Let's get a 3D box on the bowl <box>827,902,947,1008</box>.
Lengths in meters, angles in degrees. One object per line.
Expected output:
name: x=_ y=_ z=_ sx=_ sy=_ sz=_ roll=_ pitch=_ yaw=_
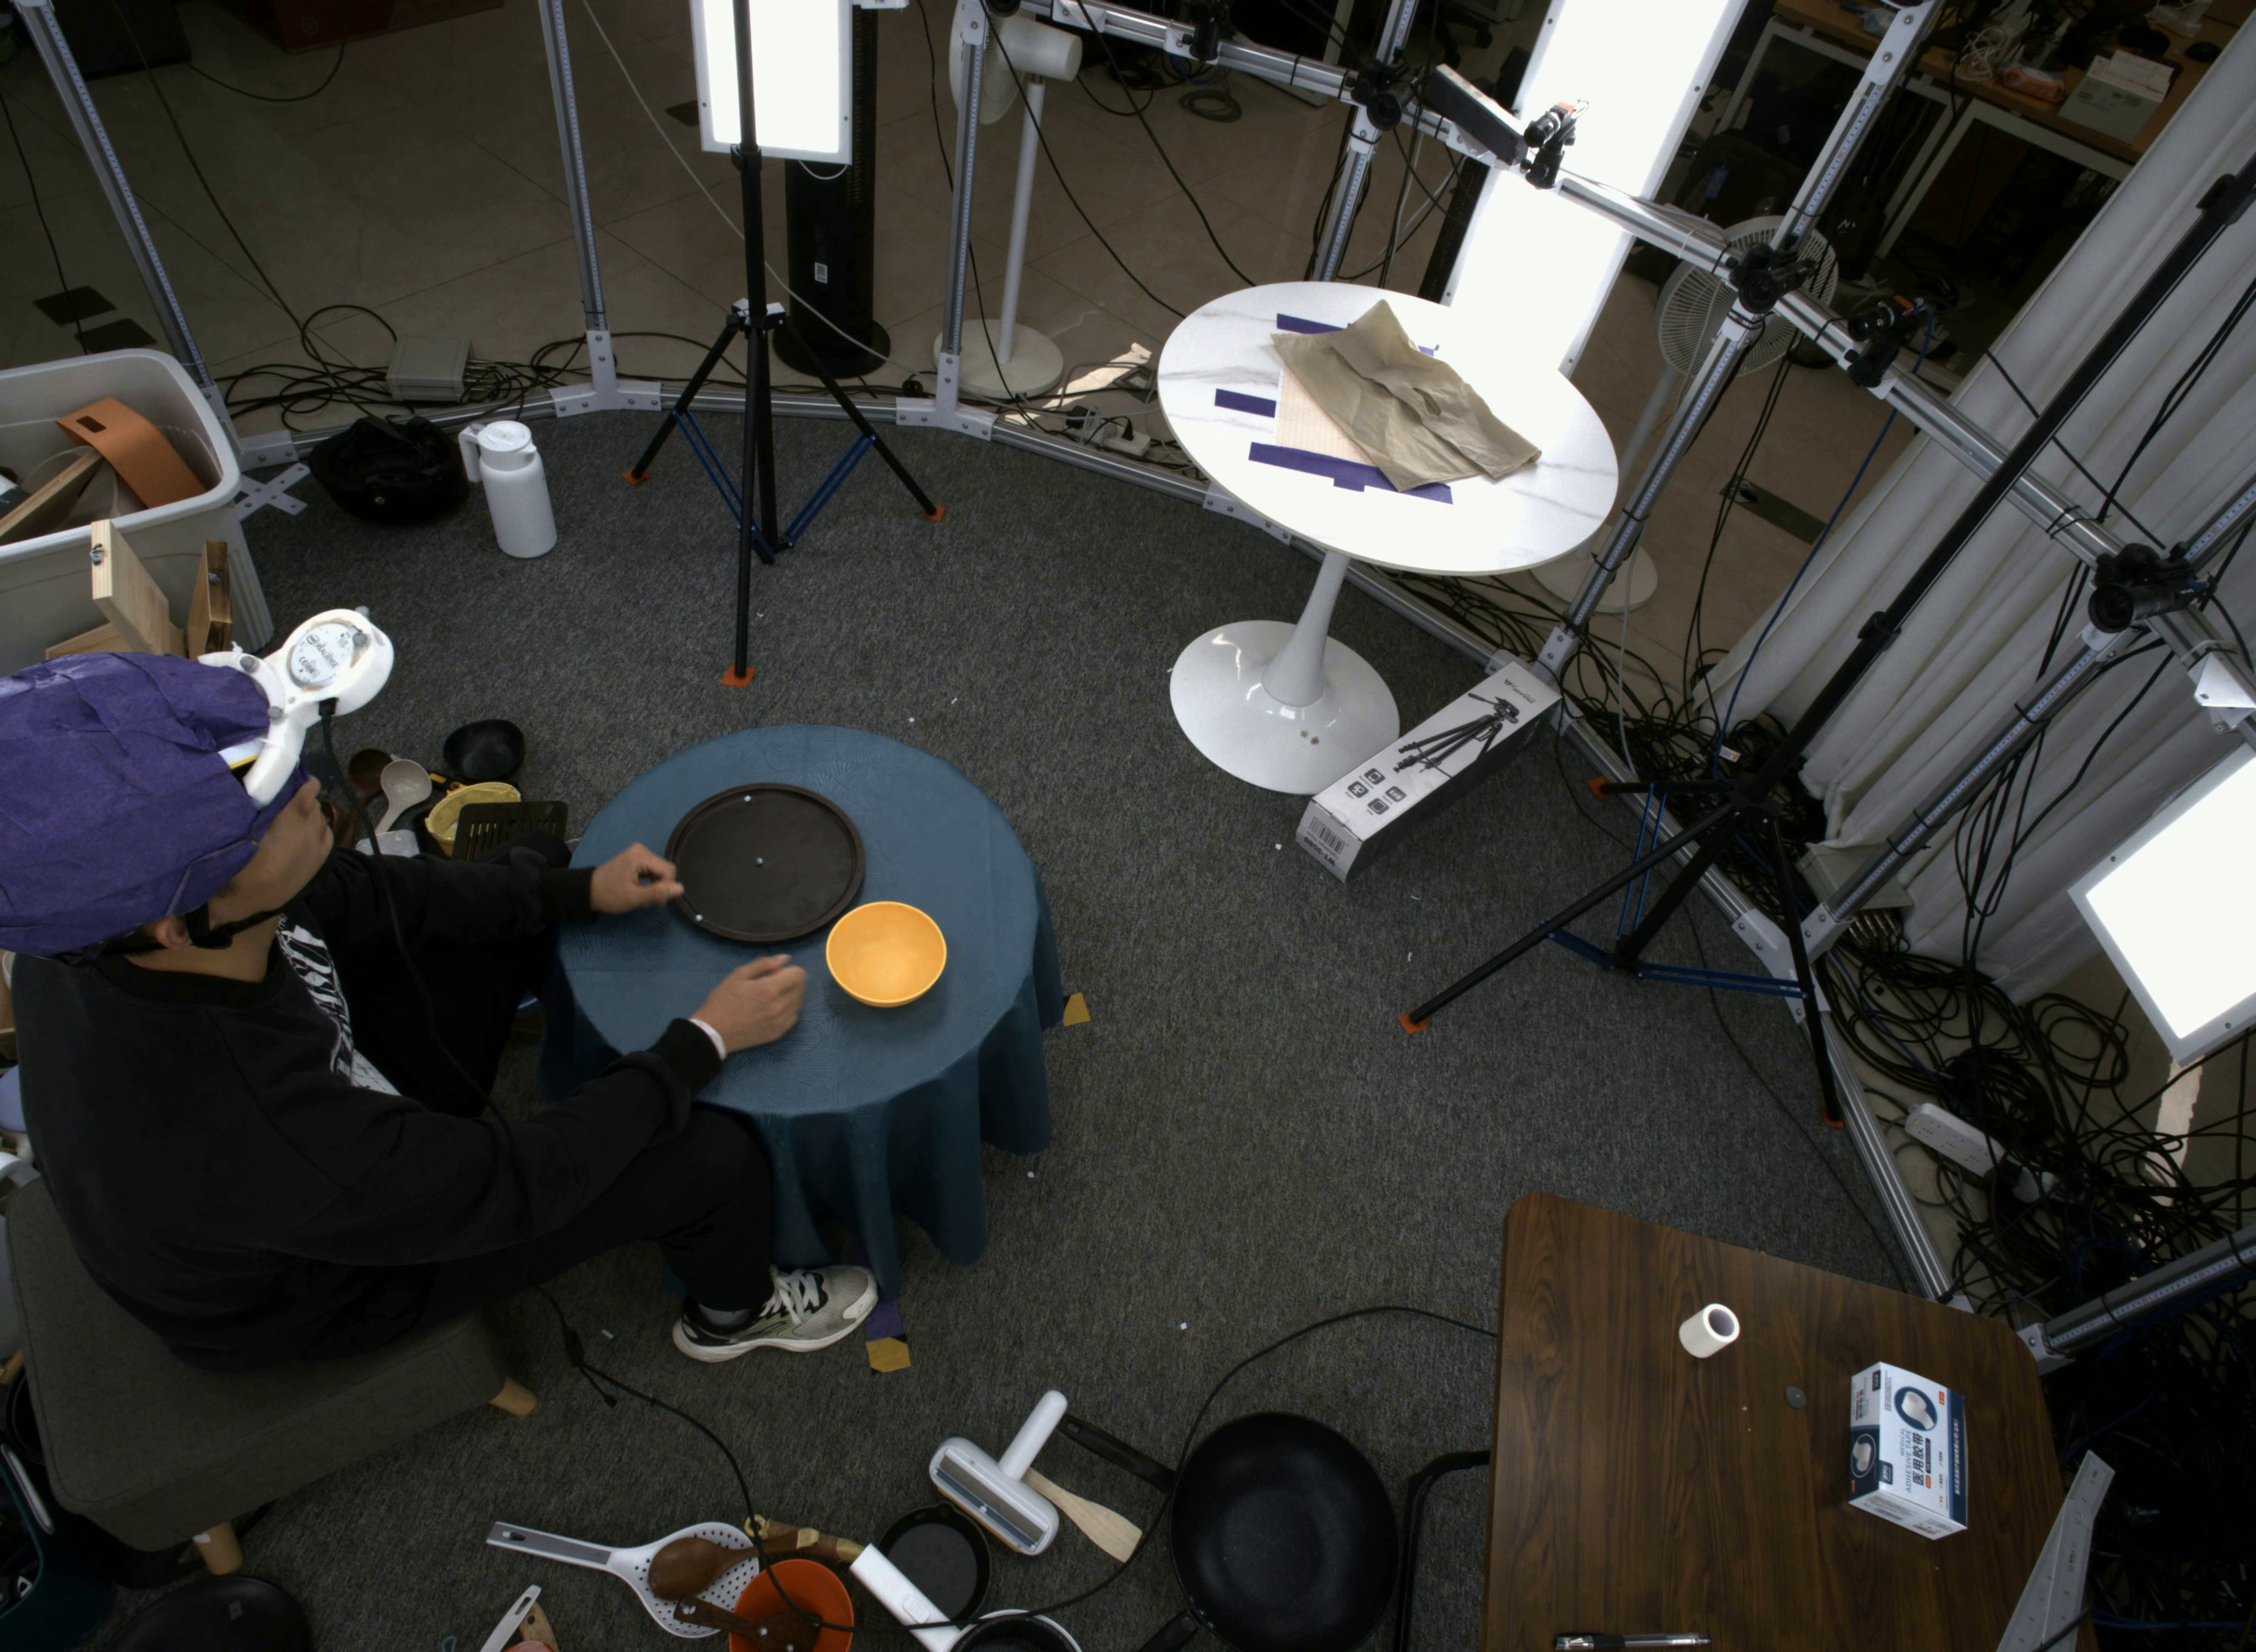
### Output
bowl: x=-0.295 y=0.167 z=1.602 sx=0.144 sy=0.061 sz=0.143 roll=6 pitch=53 yaw=-6

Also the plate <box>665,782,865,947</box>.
plate: x=-0.467 y=0.047 z=1.669 sx=0.254 sy=0.029 sz=0.250 roll=8 pitch=54 yaw=-9
